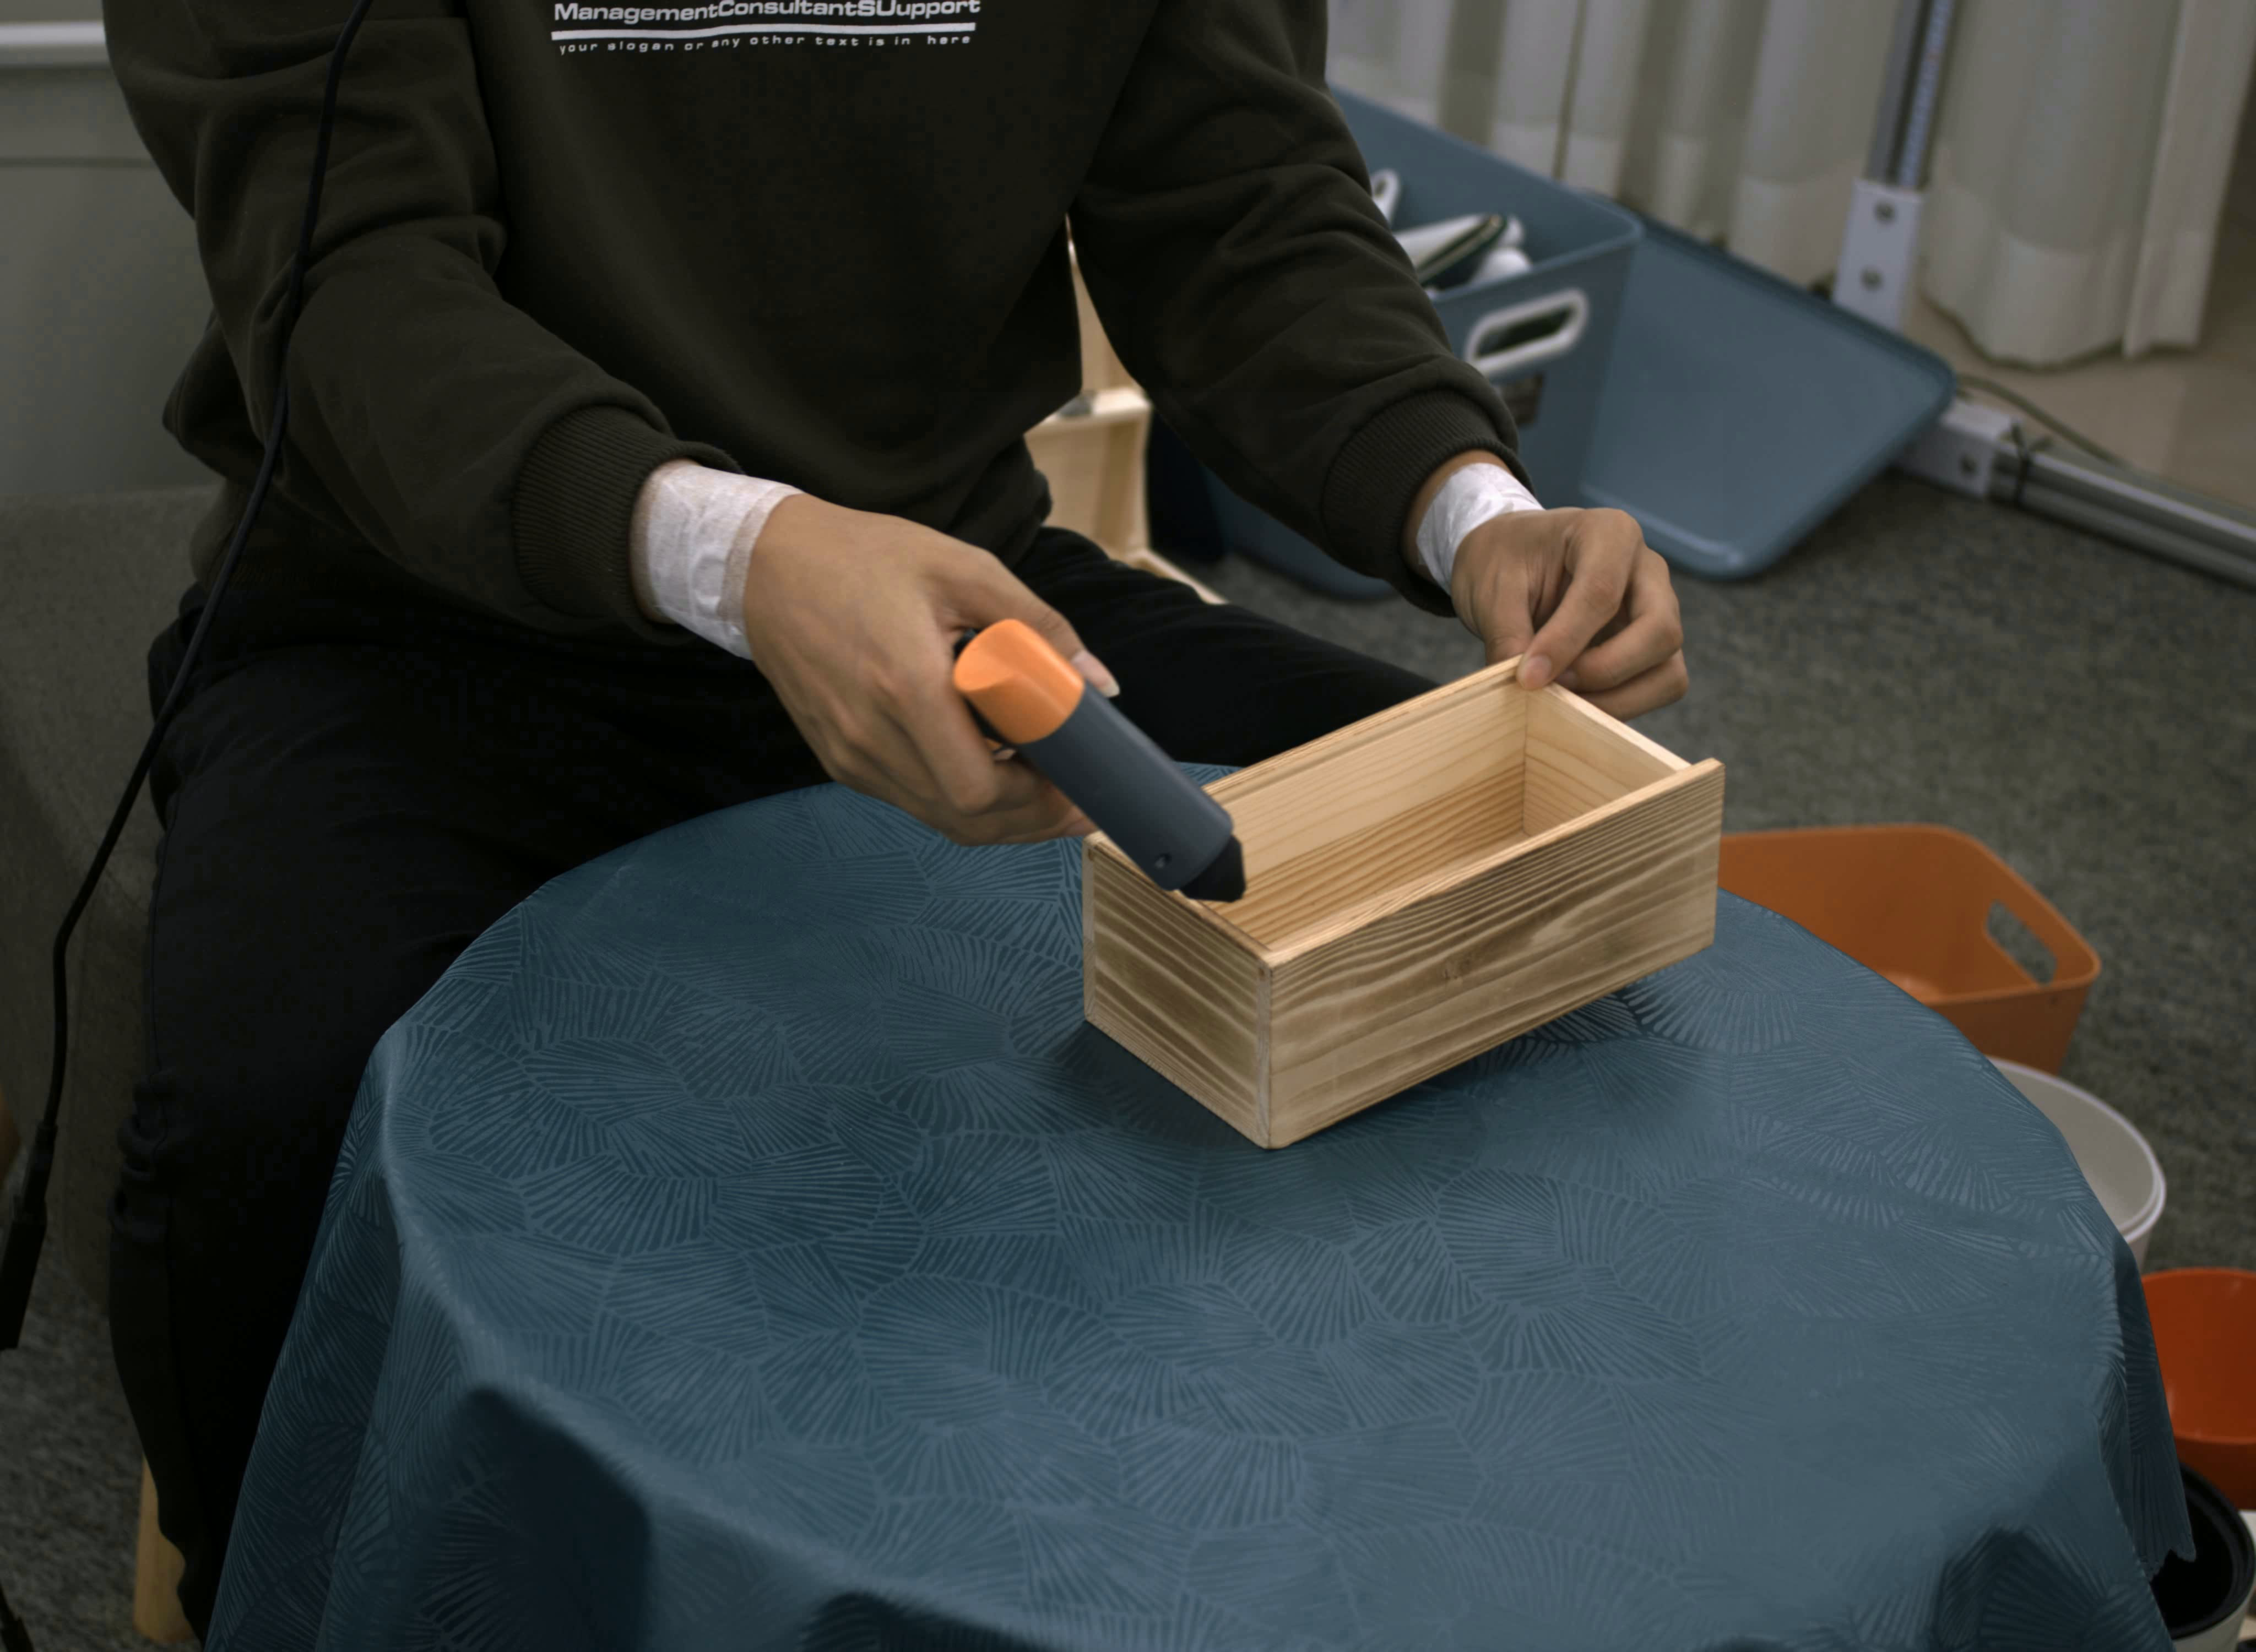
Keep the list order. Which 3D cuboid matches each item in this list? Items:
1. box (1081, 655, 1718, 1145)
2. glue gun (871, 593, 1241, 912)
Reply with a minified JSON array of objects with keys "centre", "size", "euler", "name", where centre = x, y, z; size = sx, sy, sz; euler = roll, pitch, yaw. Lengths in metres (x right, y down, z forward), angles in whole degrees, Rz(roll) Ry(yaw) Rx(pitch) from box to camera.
[{"centre":[0.098,0.023,1.911],"size":[0.210,0.080,0.108],"euler":[-23,37,-31],"name":"box"},{"centre":[-0.024,-0.027,1.814],"size":[0.041,0.117,0.141],"euler":[-44,31,-12],"name":"glue gun"}]
